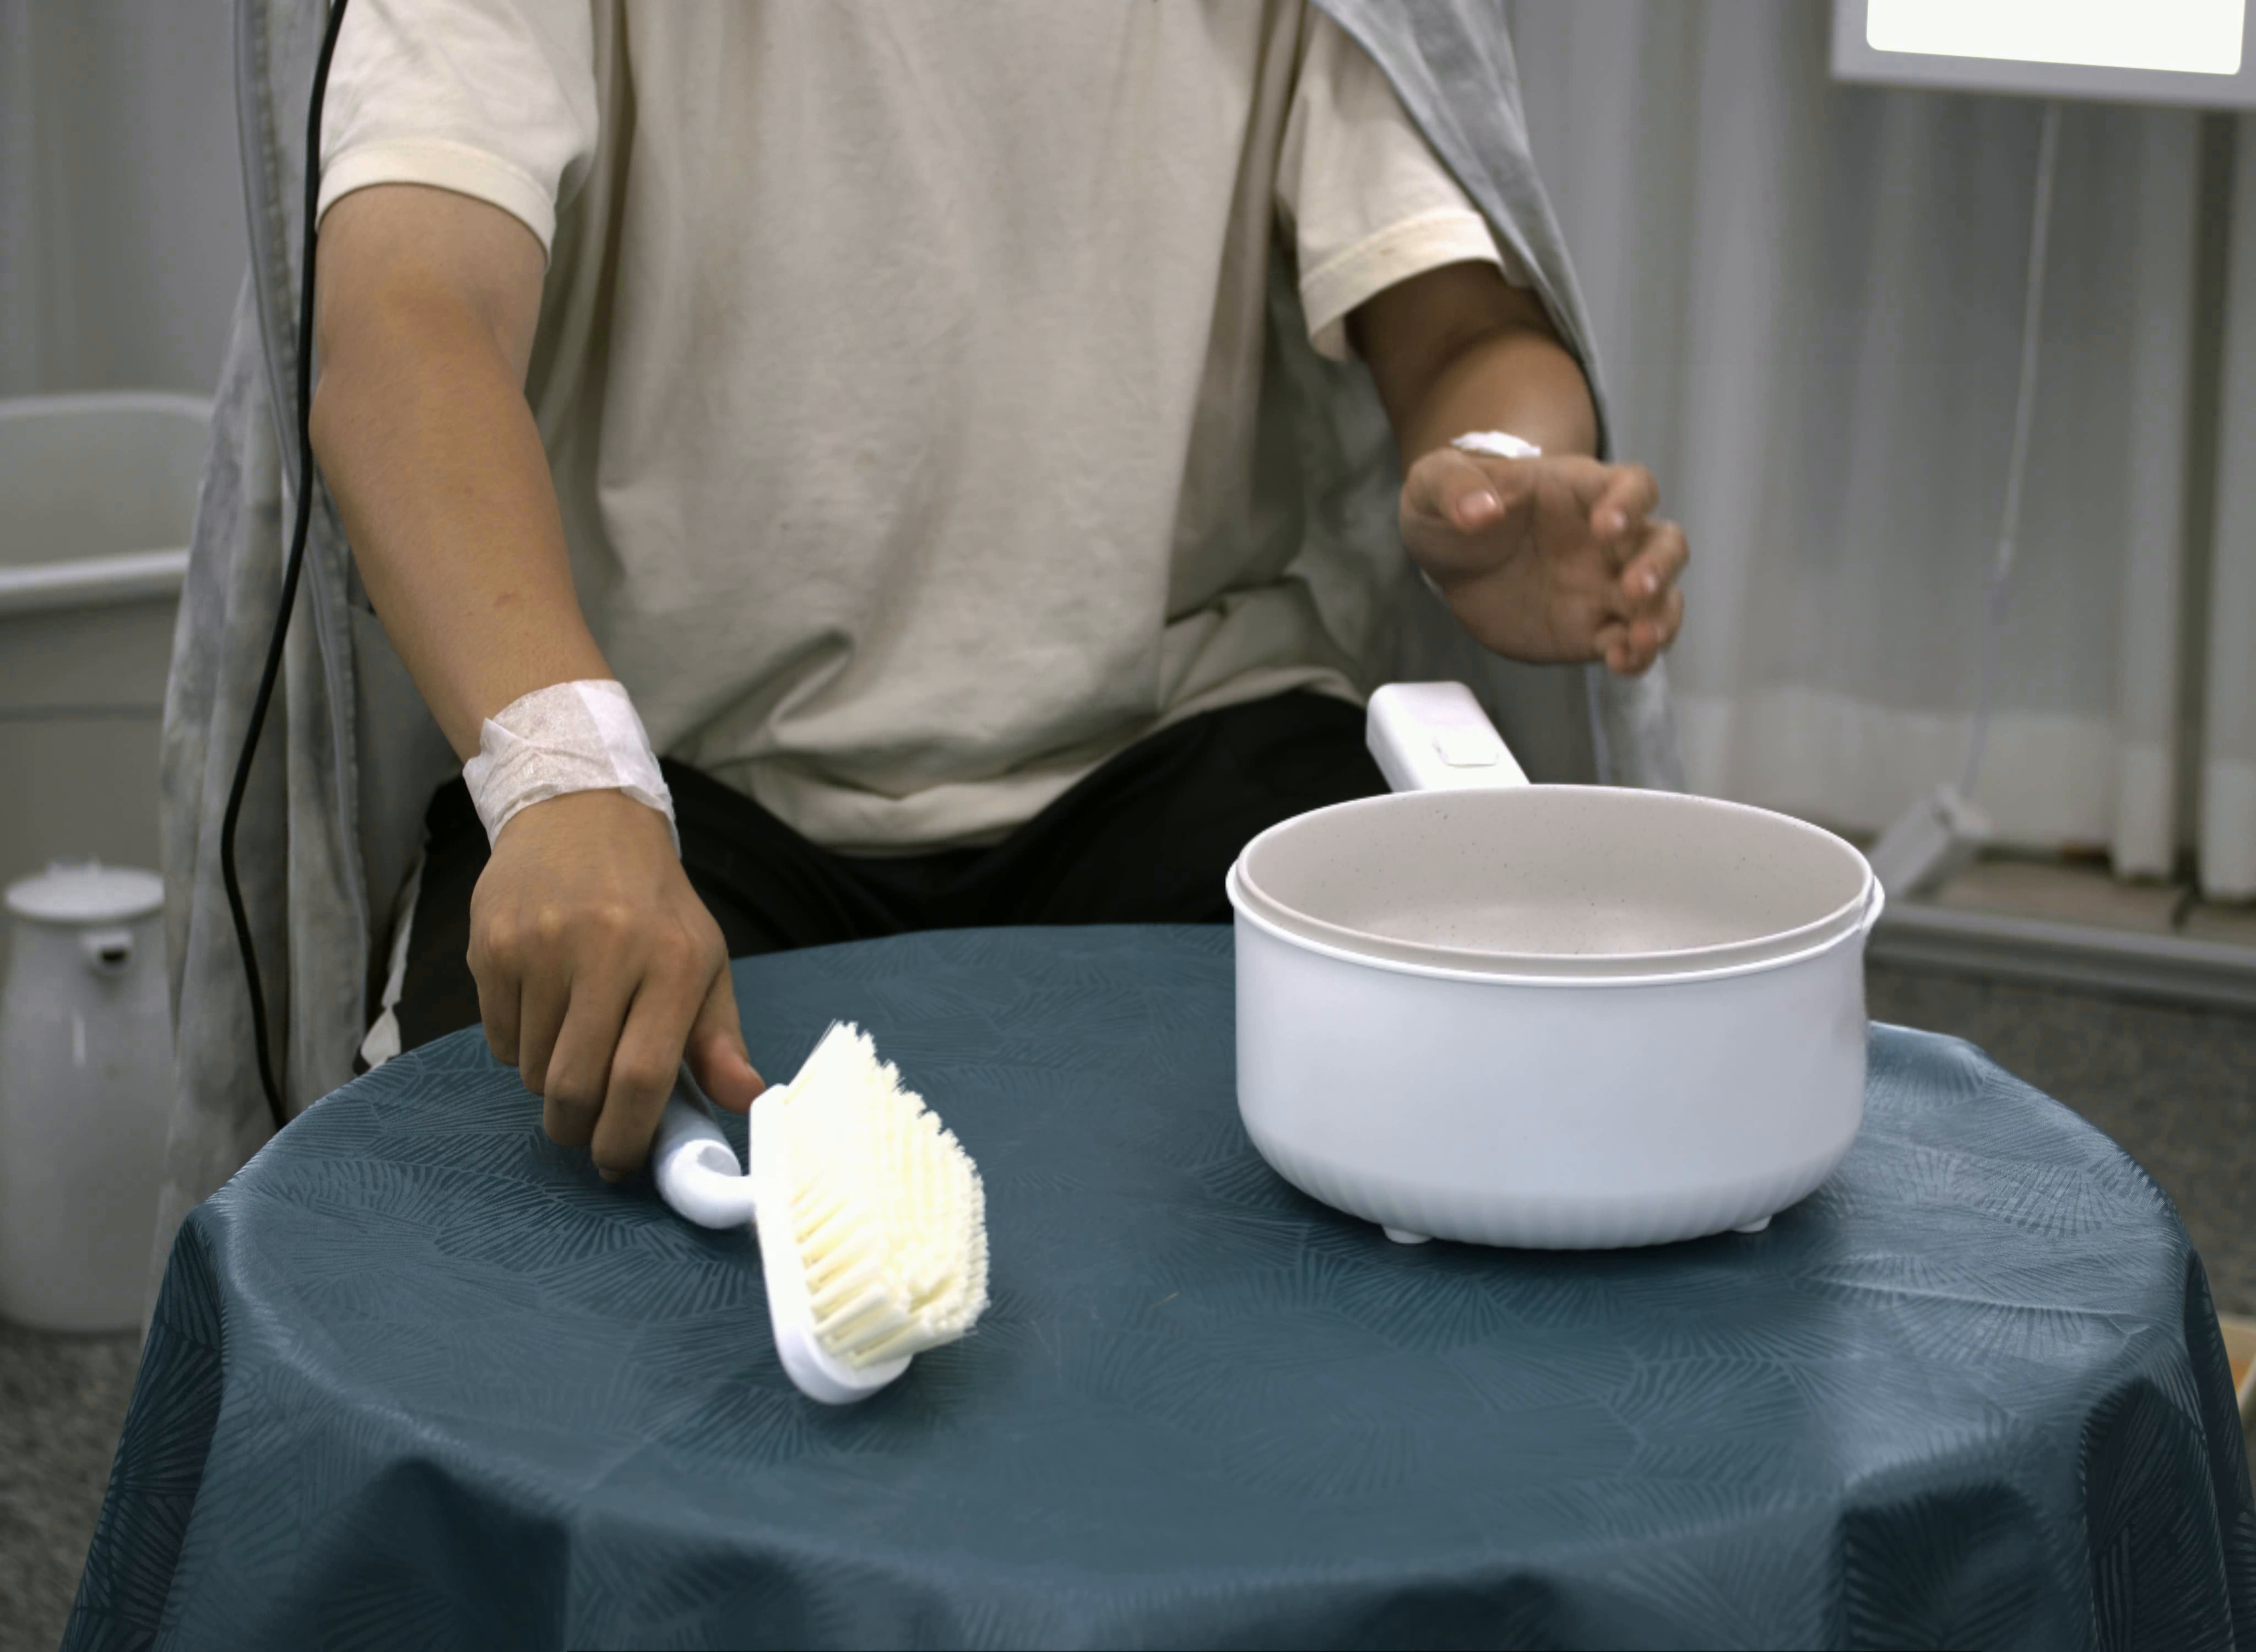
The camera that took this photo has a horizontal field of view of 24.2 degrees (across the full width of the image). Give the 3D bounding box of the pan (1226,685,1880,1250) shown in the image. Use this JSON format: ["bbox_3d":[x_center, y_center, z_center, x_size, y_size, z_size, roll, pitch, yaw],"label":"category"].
[{"bbox_3d":[0.122,0.041,1.702,0.201,0.103,0.352,-2,15,-6],"label":"pan"}]

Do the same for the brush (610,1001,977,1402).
[{"bbox_3d":[-0.098,0.084,1.577,0.084,0.084,0.322,-3,16,-12],"label":"brush"}]
